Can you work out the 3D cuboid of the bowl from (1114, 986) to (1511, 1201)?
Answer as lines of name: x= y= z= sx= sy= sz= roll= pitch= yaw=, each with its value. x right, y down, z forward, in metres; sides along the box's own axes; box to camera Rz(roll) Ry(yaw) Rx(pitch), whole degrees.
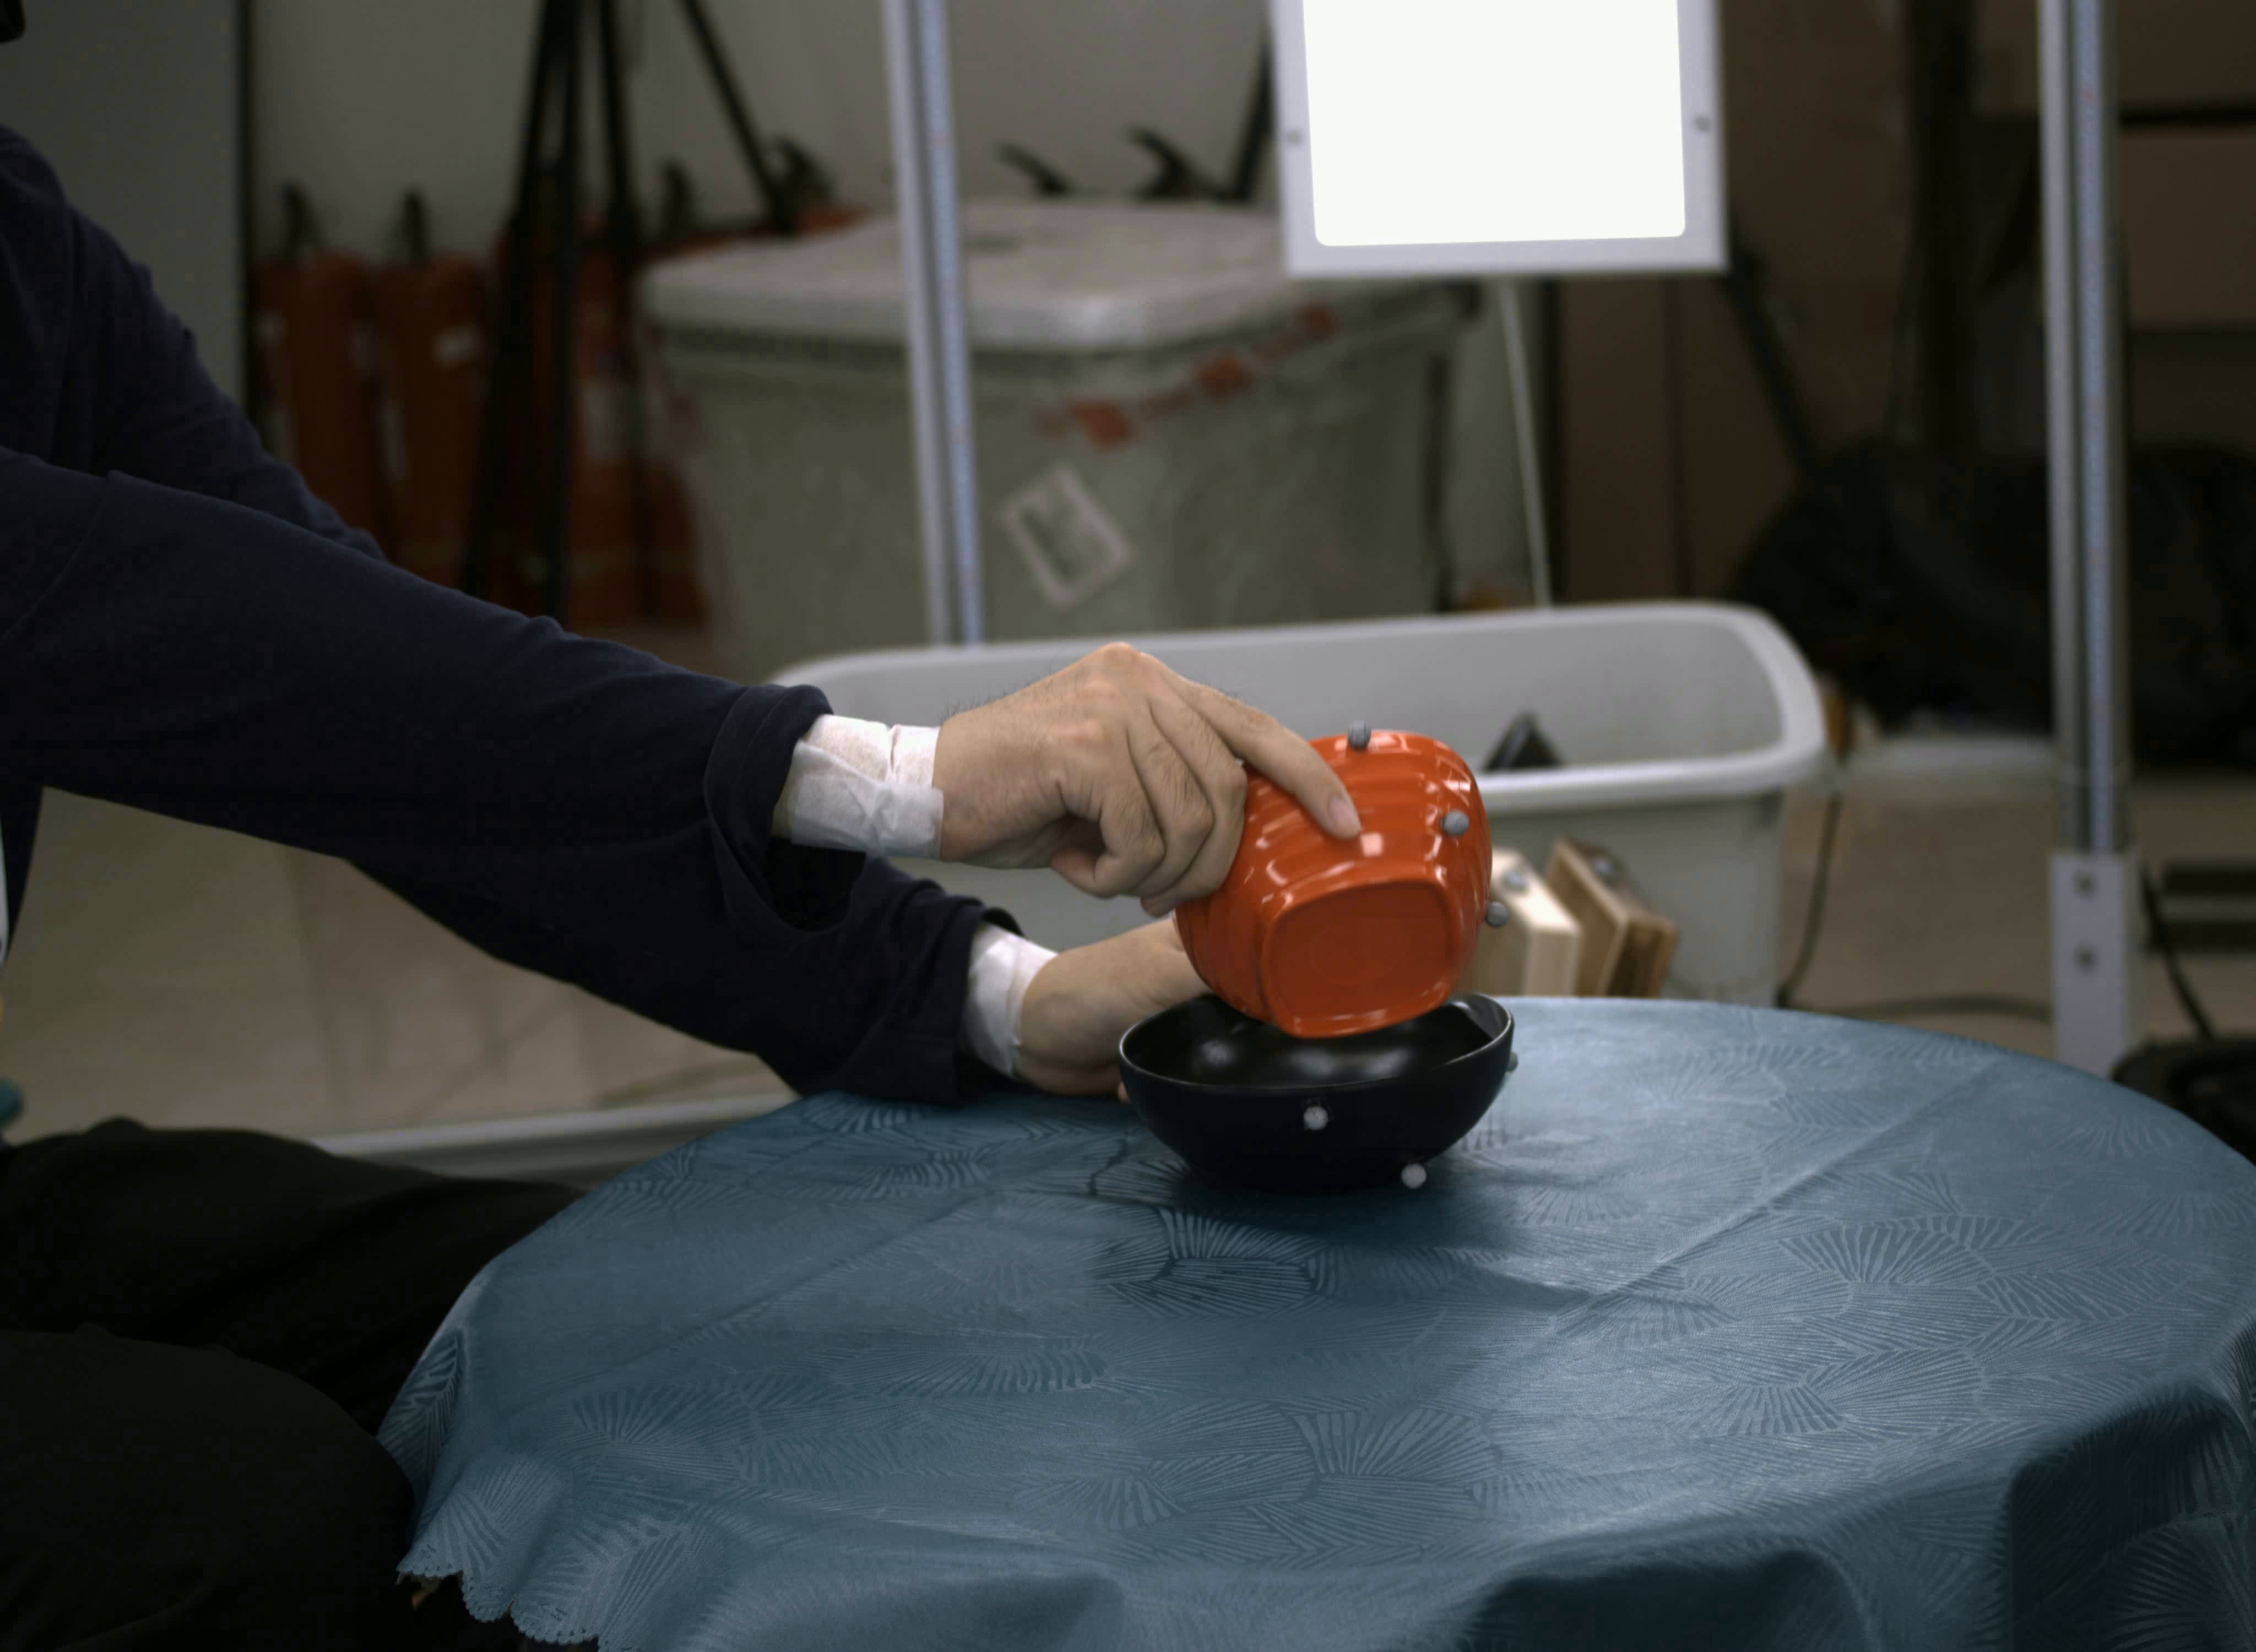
bowl: x=0.067 y=0.096 z=1.907 sx=0.140 sy=0.050 sz=0.140 roll=-9 pitch=11 yaw=0

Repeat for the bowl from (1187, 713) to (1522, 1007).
bowl: x=0.077 y=0.018 z=1.812 sx=0.119 sy=0.119 sz=0.051 roll=-4 pitch=51 yaw=1
